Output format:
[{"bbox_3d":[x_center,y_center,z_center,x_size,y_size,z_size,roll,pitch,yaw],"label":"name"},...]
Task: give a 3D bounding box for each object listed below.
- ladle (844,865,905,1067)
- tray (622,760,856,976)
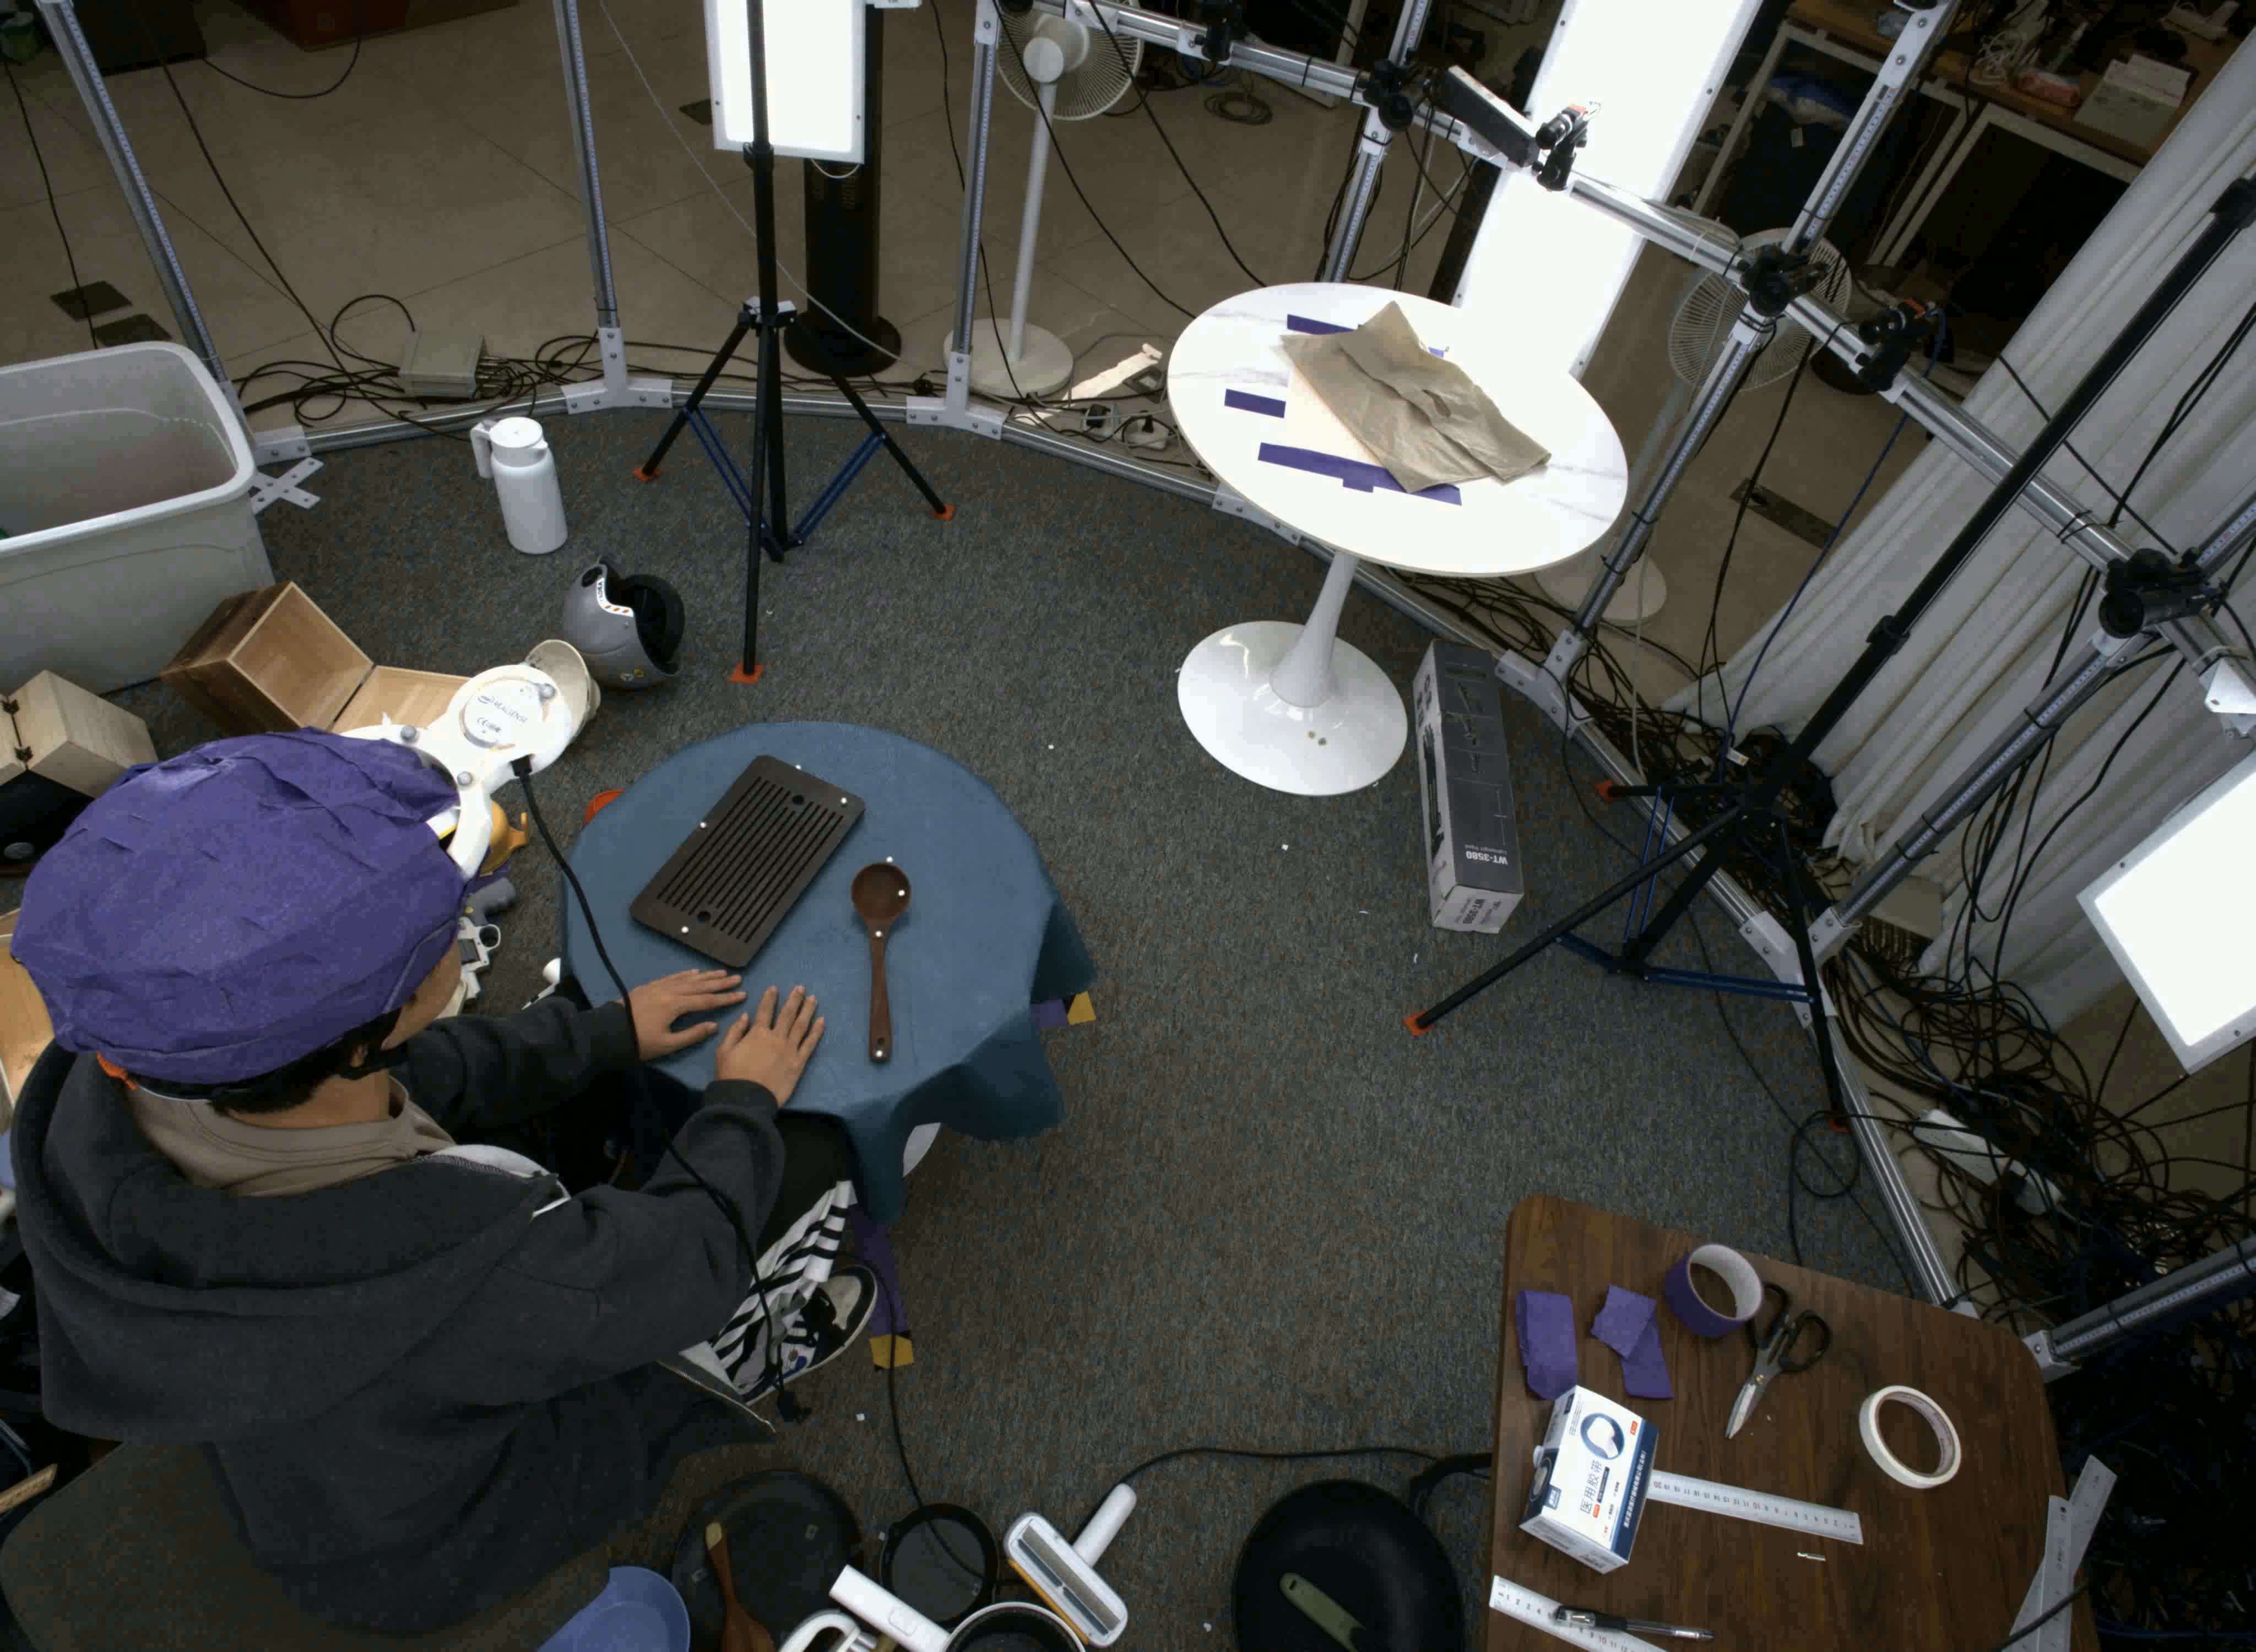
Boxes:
[{"bbox_3d":[-0.311,0.164,1.594,0.076,0.066,0.255,1,54,-12],"label":"ladle"},{"bbox_3d":[-0.496,0.047,1.664,0.168,0.019,0.304,25,52,5],"label":"tray"}]
